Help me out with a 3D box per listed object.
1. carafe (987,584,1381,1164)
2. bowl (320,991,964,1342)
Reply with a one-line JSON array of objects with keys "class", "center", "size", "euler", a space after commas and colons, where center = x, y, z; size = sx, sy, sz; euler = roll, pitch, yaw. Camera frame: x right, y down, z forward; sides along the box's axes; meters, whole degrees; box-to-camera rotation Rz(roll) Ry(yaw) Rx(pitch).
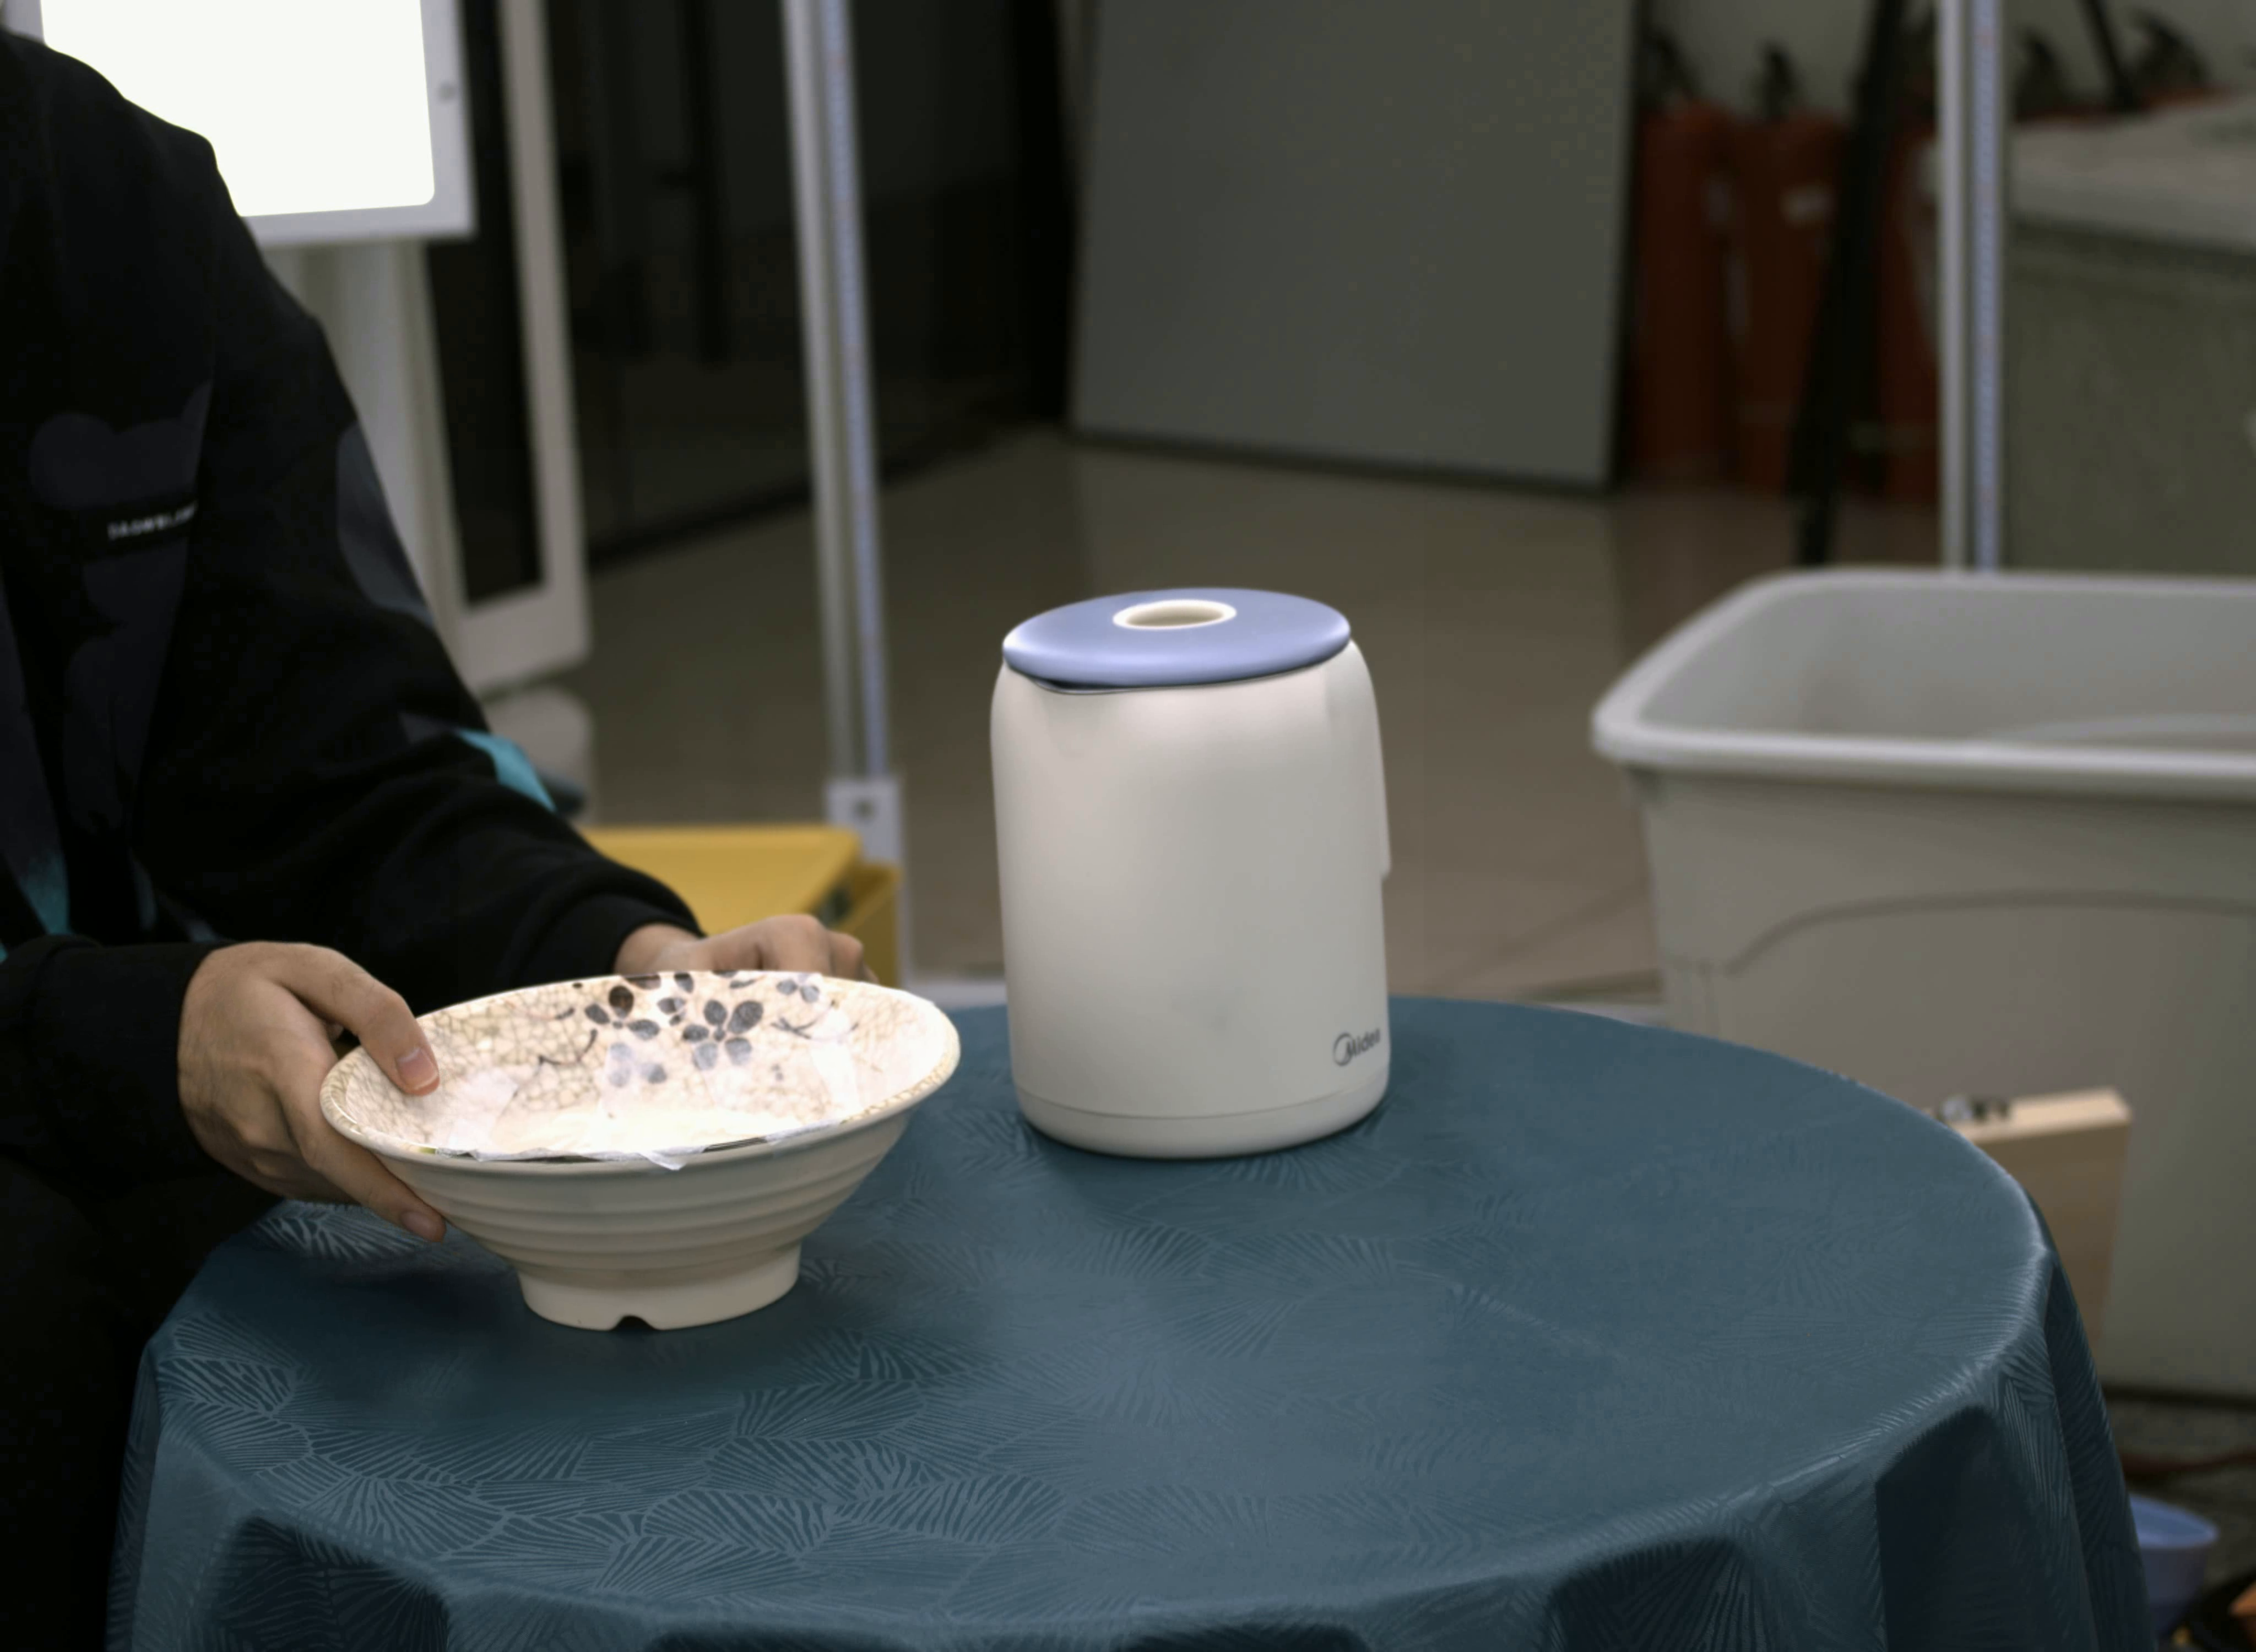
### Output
[{"class": "carafe", "center": [0.032, 0.010, 1.854], "size": [0.133, 0.184, 0.188], "euler": [6, 14, 32]}, {"class": "bowl", "center": [-0.148, 0.112, 1.697], "size": [0.201, 0.079, 0.204], "euler": [-5, 11, 0]}]
